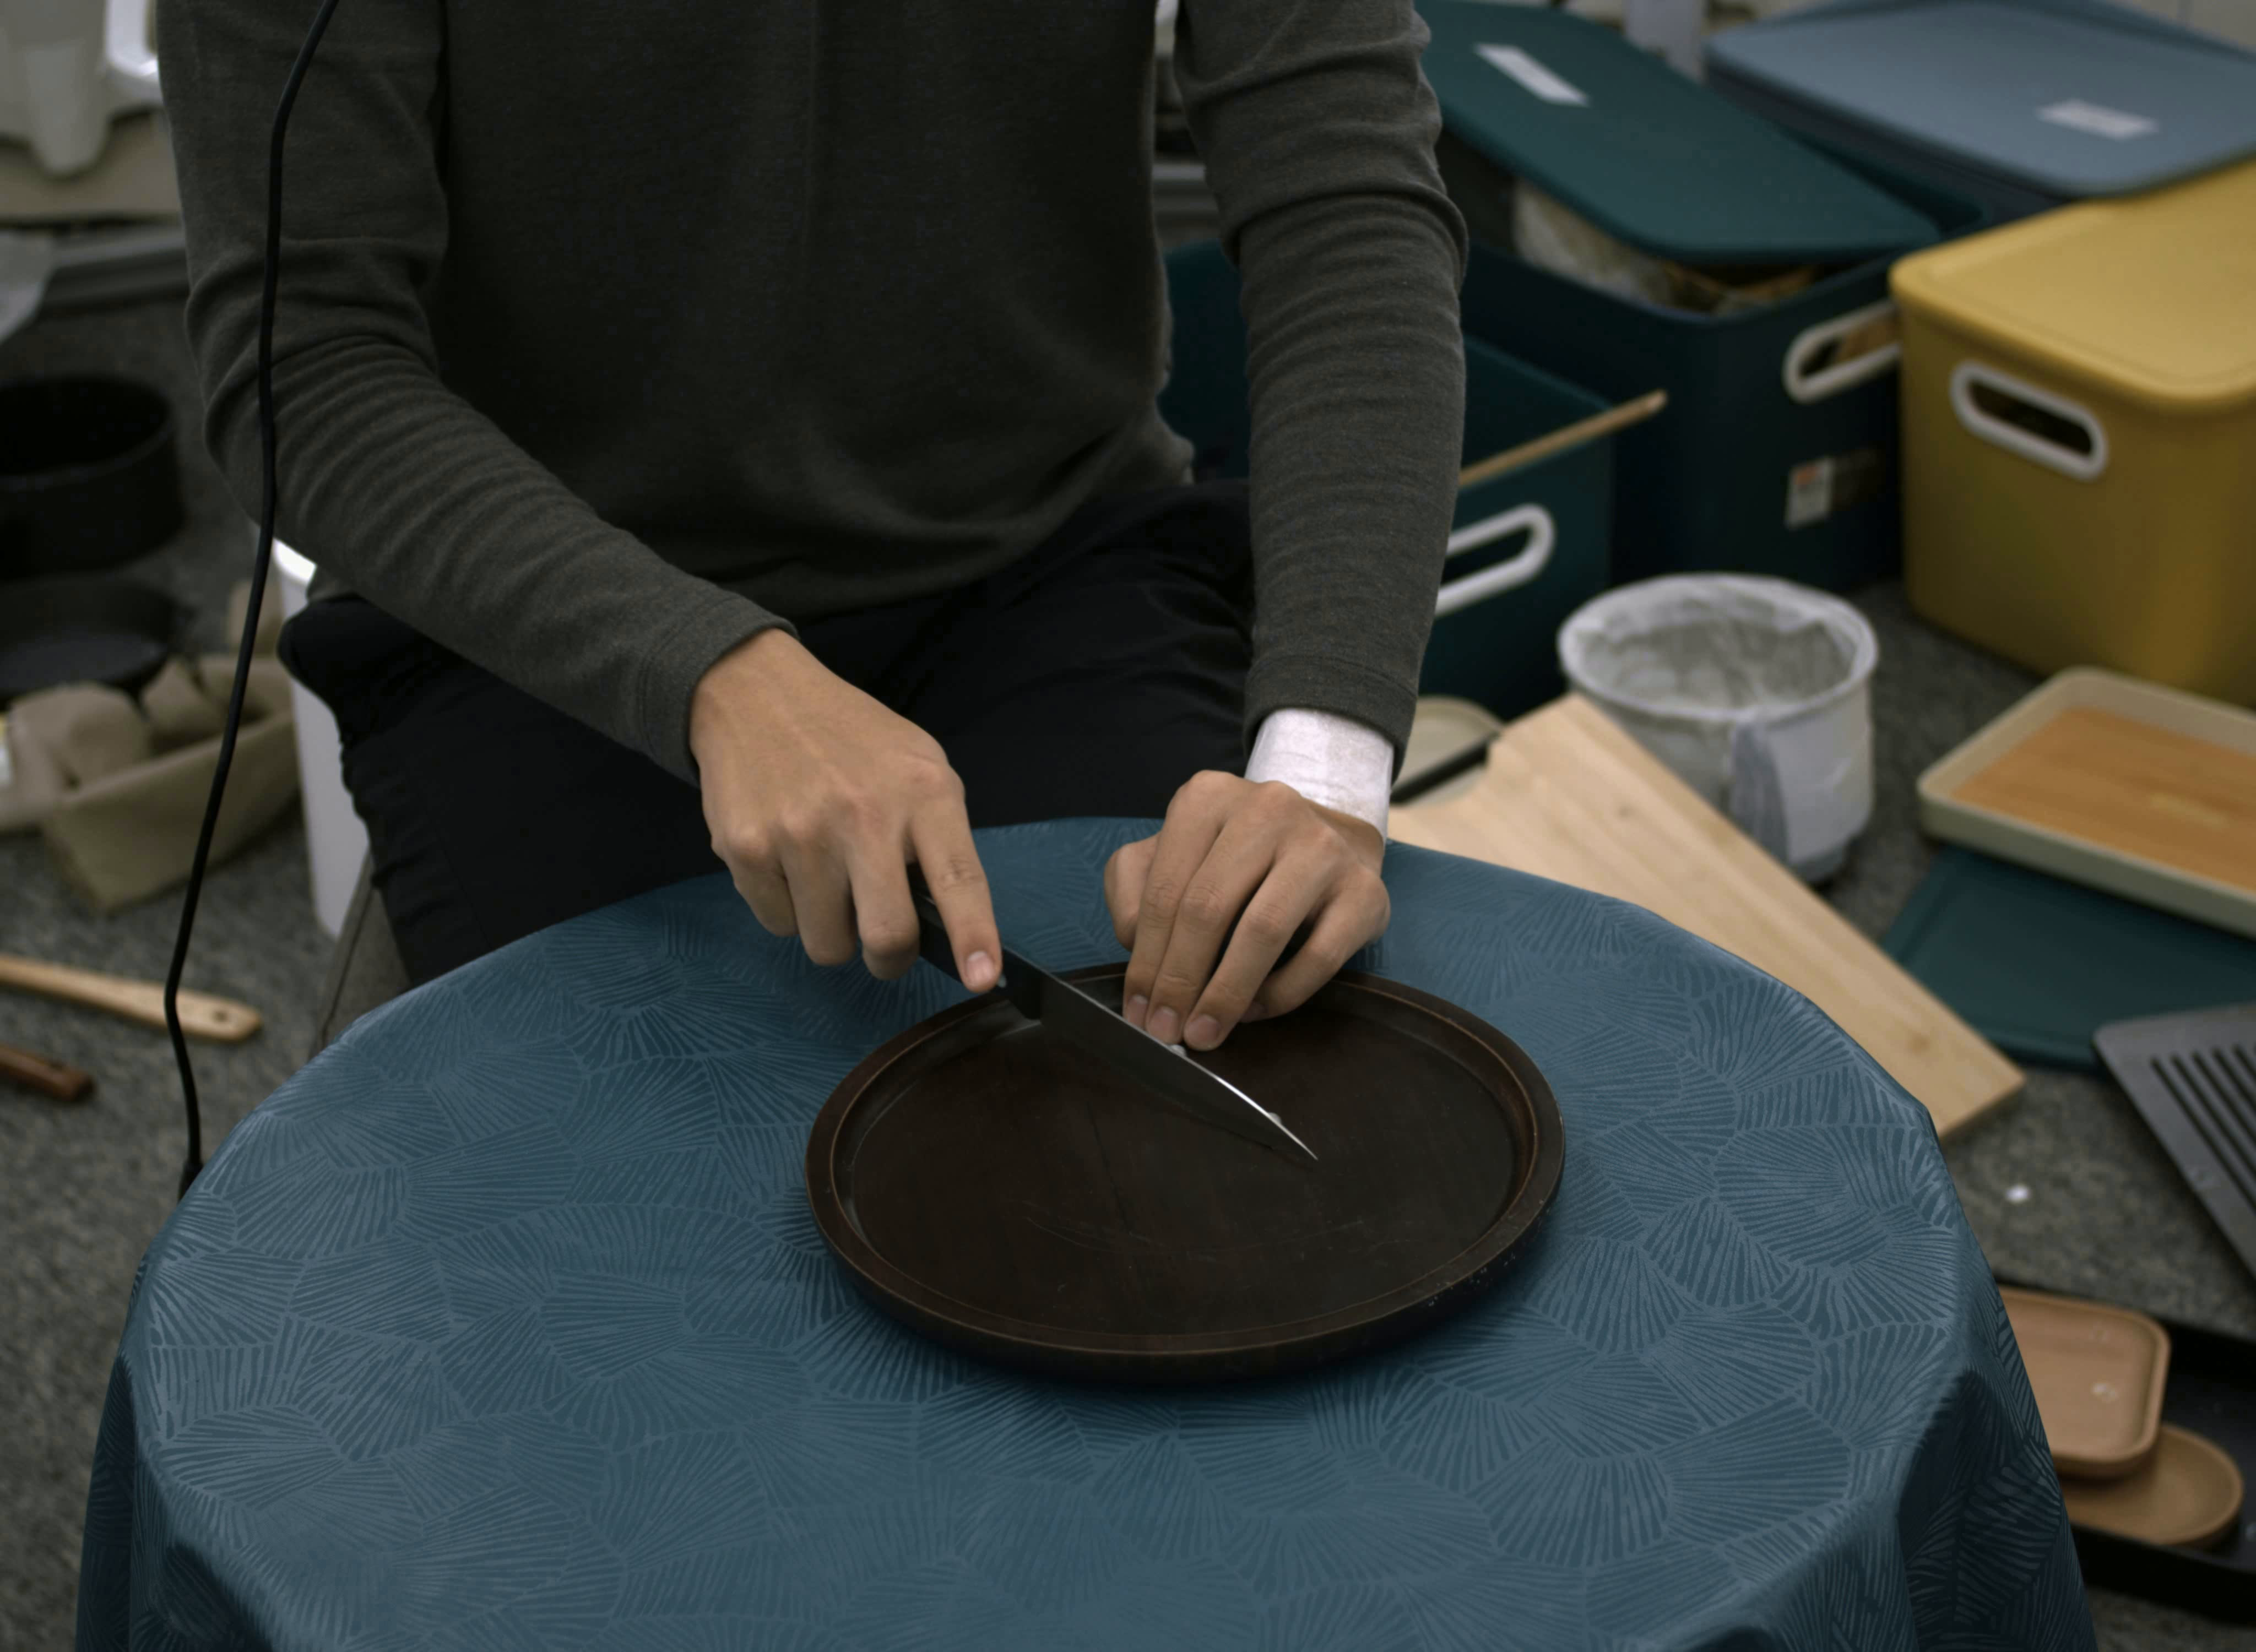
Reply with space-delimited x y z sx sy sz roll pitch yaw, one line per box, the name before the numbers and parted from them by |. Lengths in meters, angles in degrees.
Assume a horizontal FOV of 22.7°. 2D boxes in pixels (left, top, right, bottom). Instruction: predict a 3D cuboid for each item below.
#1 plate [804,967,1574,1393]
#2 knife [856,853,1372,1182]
plate | 0.020 0.114 1.850 0.253 0.029 0.259 -1 28 1
knife | -0.006 0.063 1.897 0.238 0.024 0.016 30 34 34
